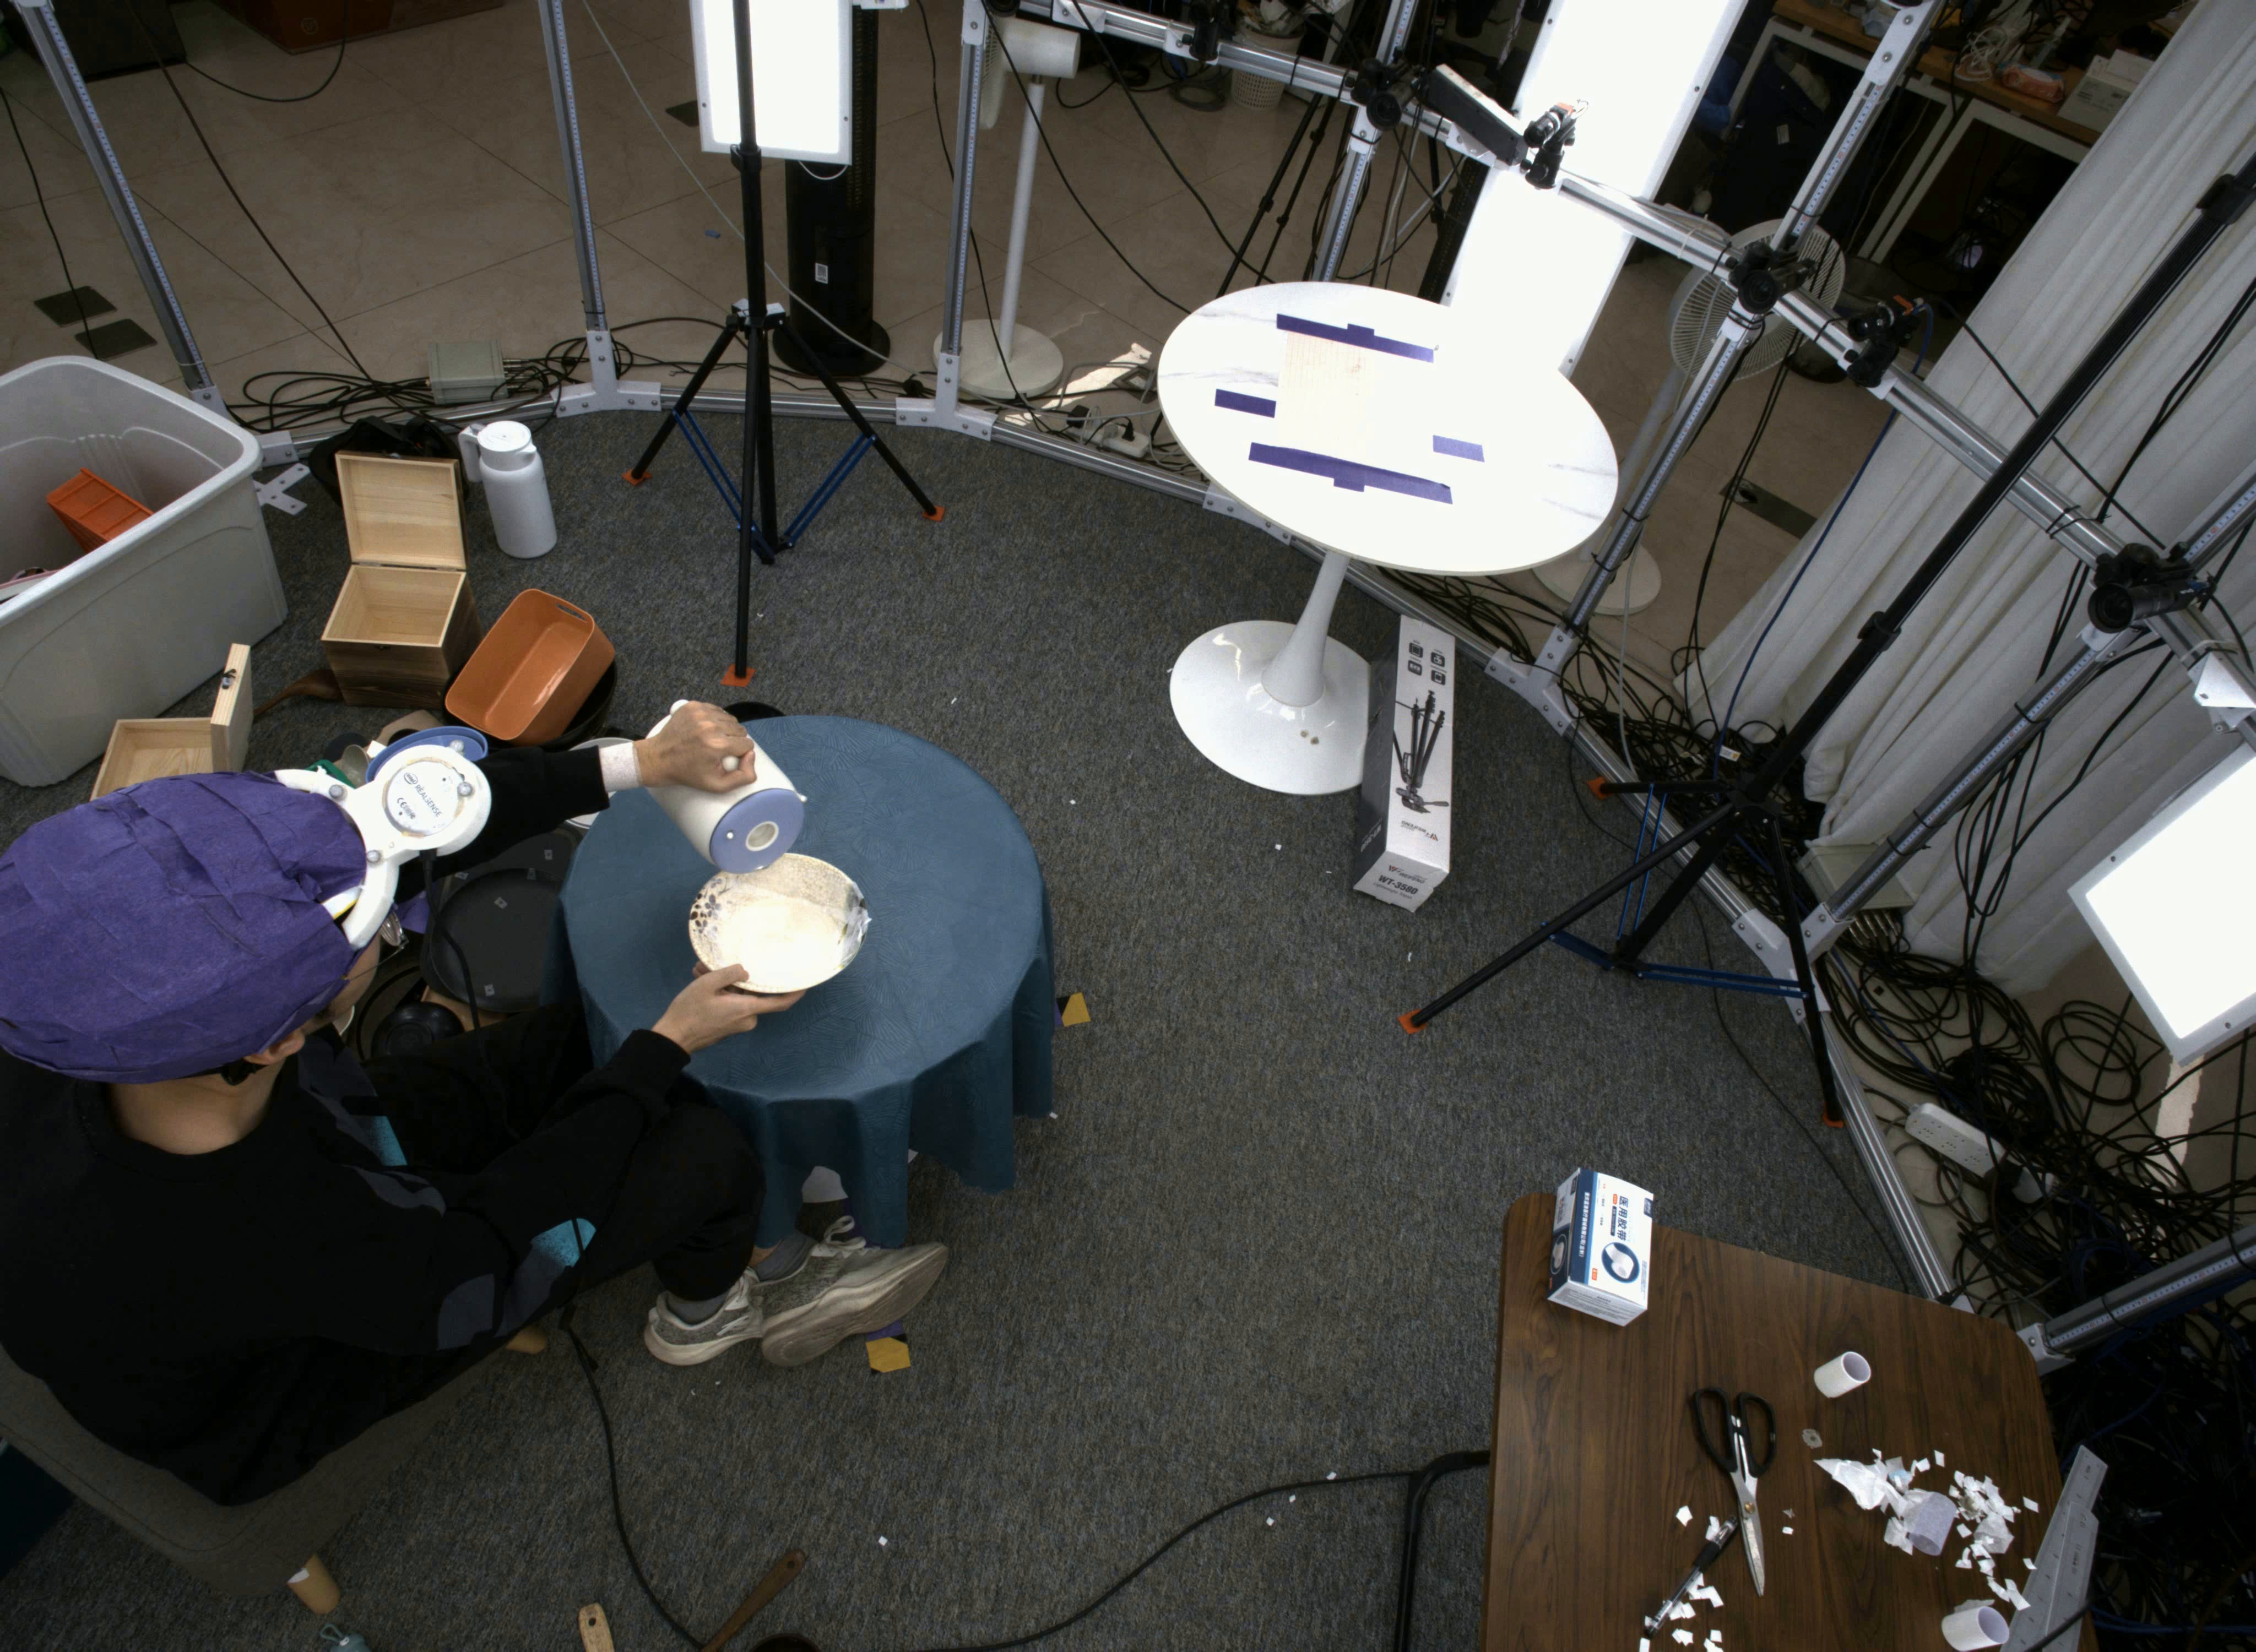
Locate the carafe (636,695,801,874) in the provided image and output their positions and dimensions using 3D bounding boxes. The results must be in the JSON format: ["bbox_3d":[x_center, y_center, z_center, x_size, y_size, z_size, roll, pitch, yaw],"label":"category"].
[{"bbox_3d":[-0.473,-0.061,1.465,0.132,0.197,0.177,-36,59,-25],"label":"carafe"}]

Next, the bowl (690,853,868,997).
[{"bbox_3d":[-0.407,0.132,1.530,0.203,0.080,0.200,5,51,-5],"label":"bowl"}]
